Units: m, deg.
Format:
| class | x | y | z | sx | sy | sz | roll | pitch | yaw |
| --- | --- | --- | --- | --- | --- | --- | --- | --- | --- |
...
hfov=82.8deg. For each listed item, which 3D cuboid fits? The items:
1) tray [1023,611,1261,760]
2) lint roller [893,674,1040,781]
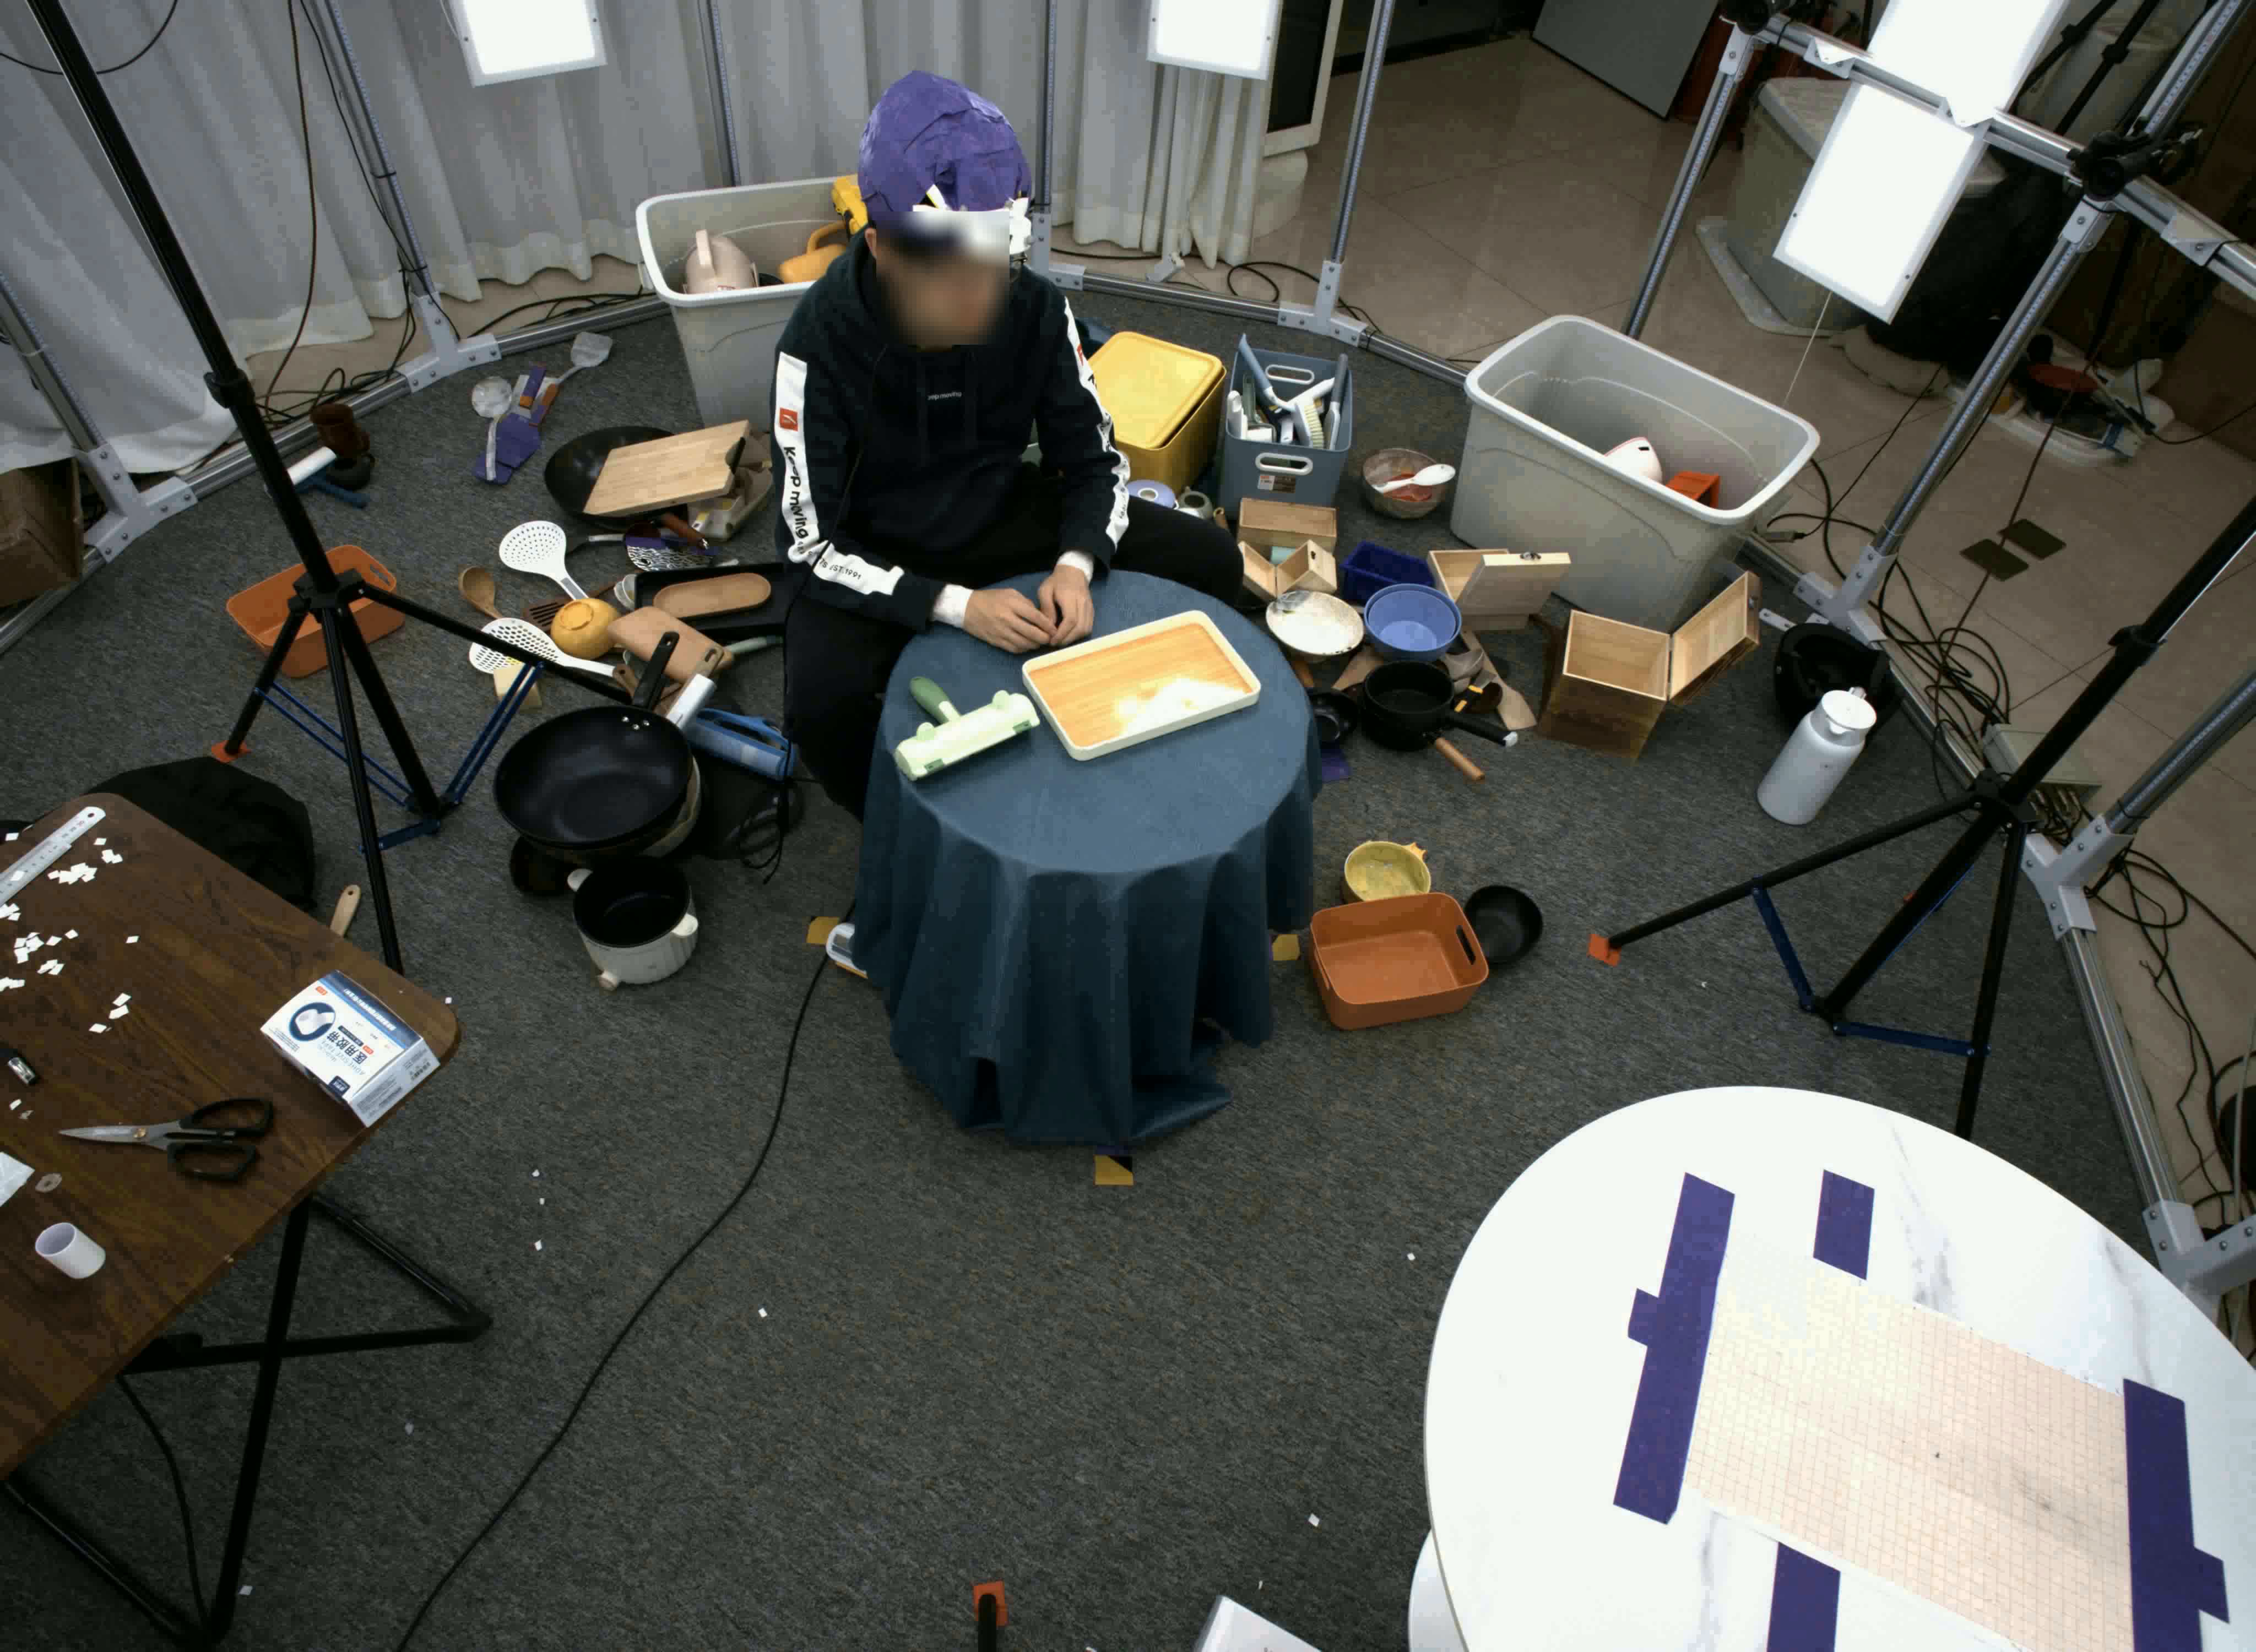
| class | x | y | z | sx | sy | sz | roll | pitch | yaw |
| --- | --- | --- | --- | --- | --- | --- | --- | --- | --- |
| tray | 0.020 | -0.205 | 1.830 | 0.301 | 0.027 | 0.196 | -19 | 53 | -19 |
| lint roller | -0.247 | -0.163 | 1.744 | 0.199 | 0.080 | 0.187 | -26 | 60 | -24 |
